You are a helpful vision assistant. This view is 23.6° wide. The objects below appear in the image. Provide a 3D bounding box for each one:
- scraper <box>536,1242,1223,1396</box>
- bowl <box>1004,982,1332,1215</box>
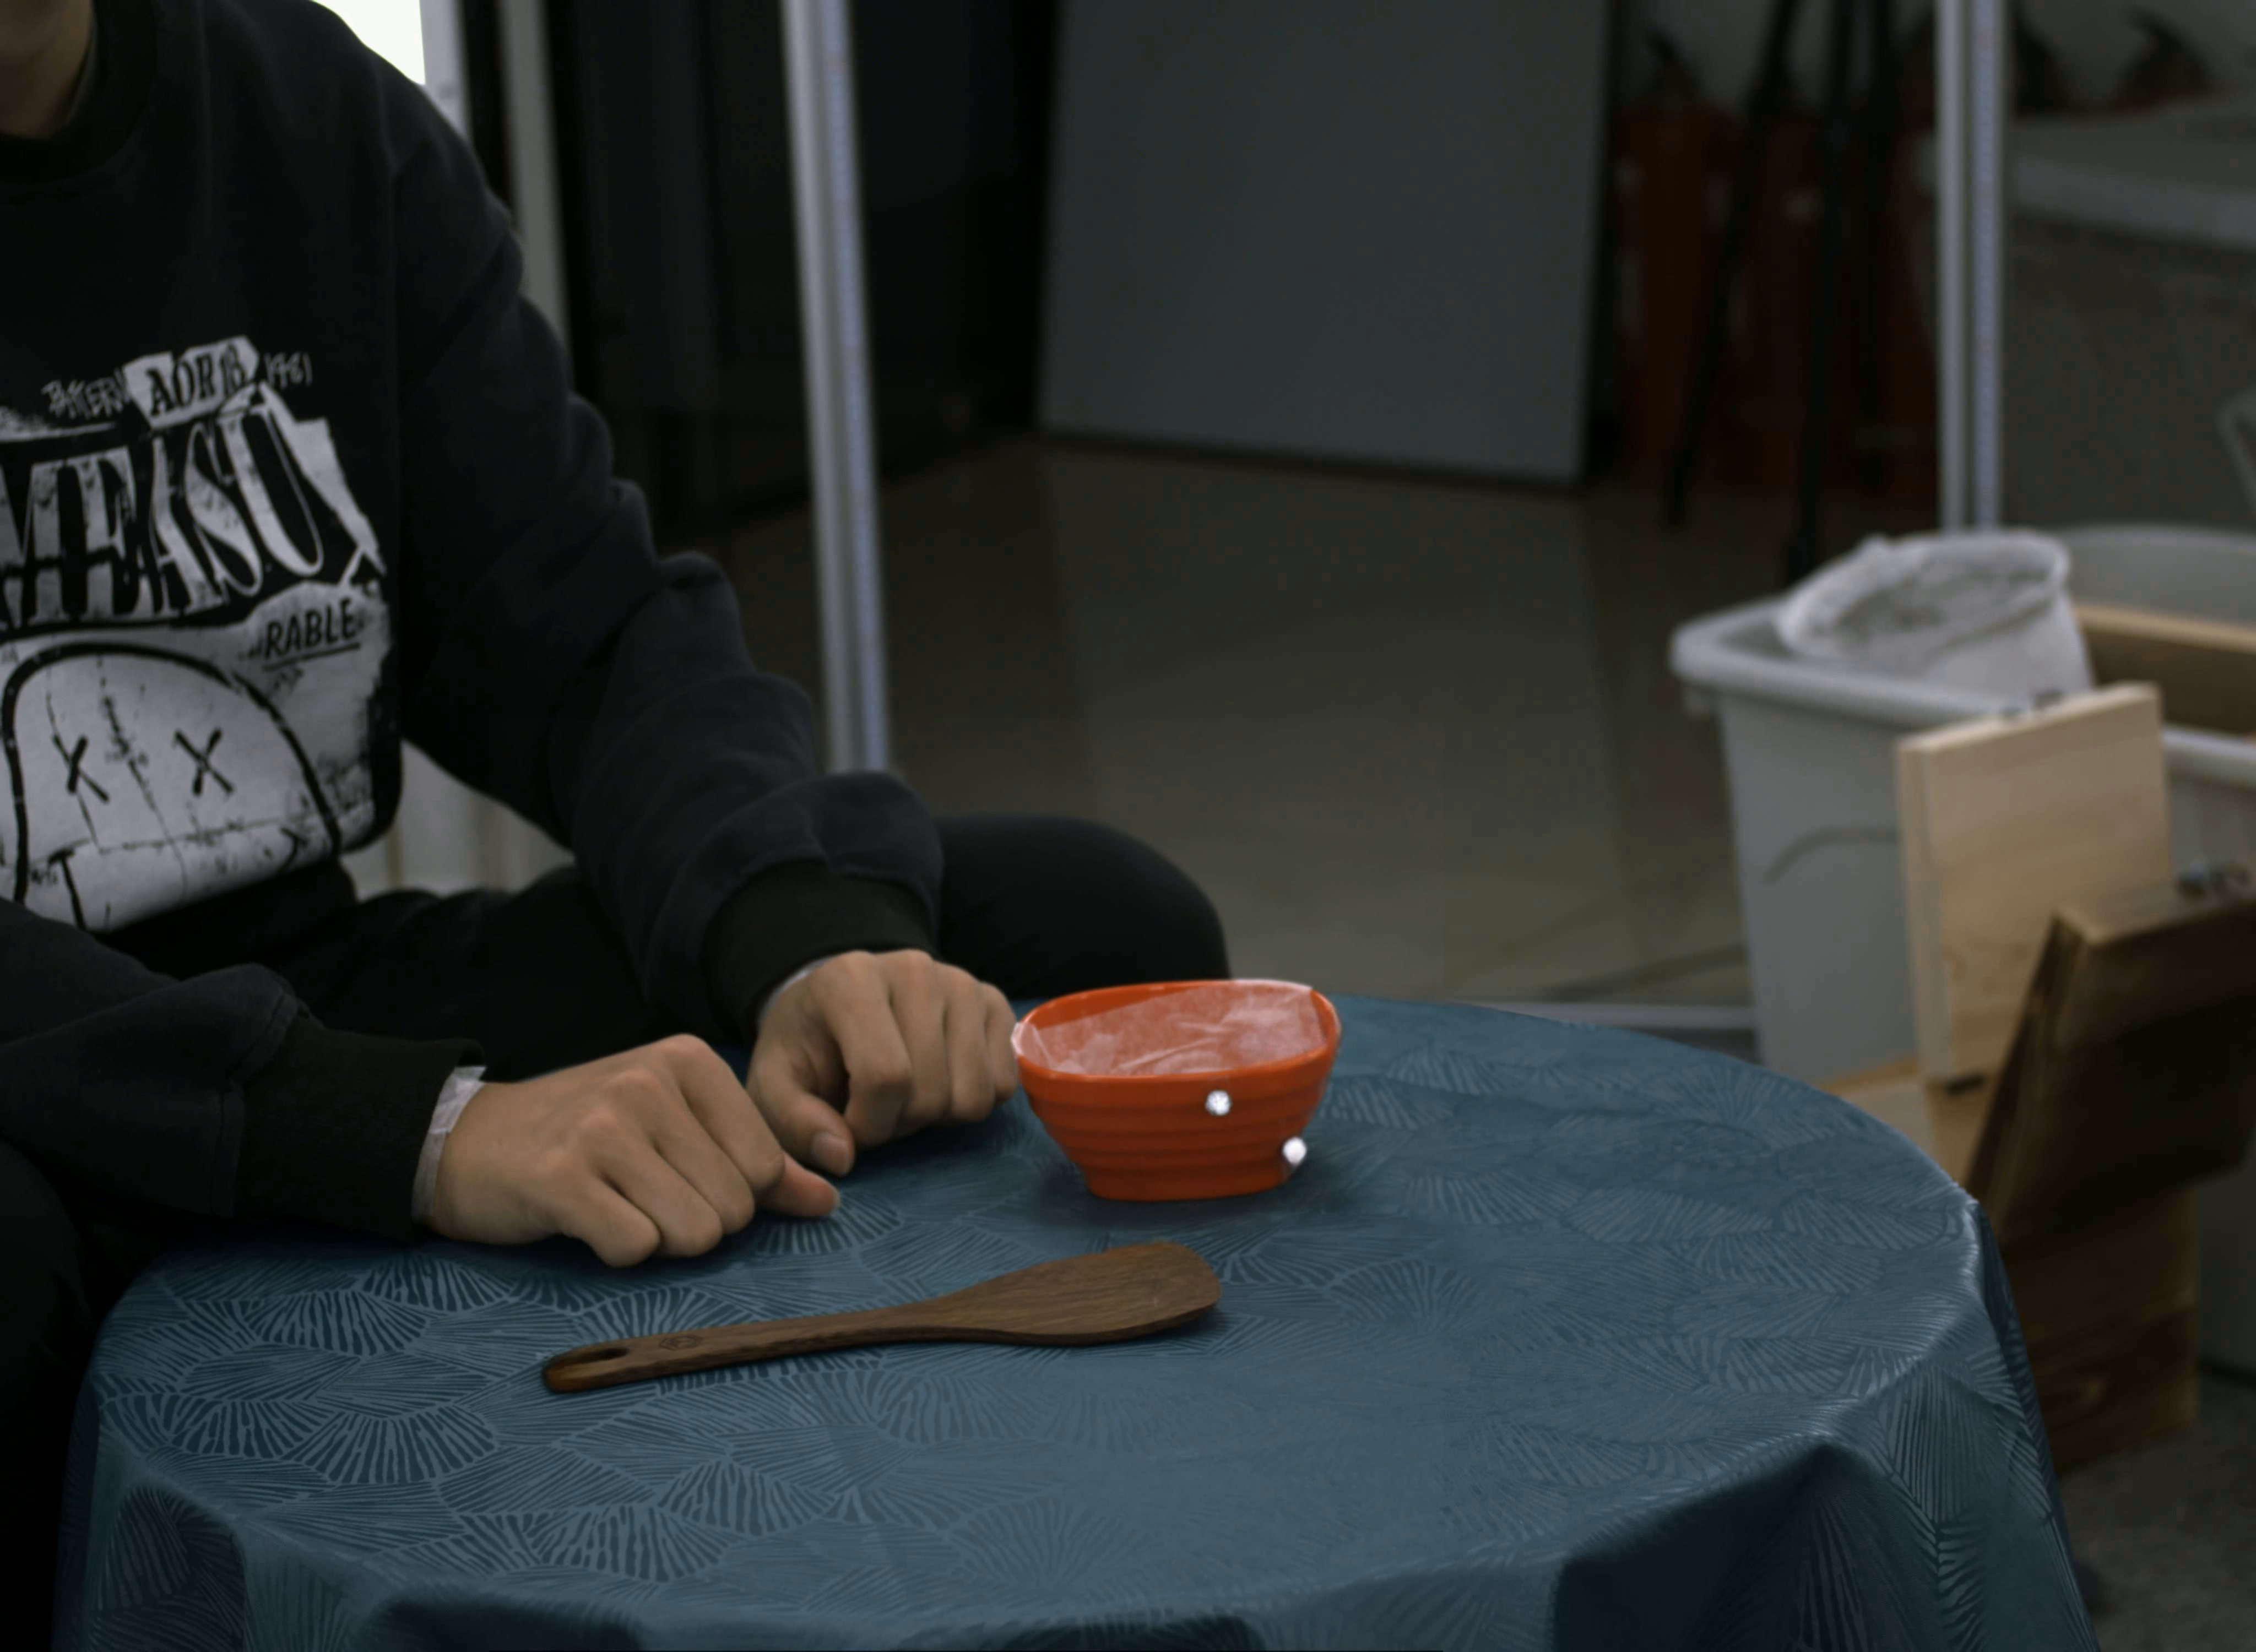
[{"bbox_3d":[-0.076,0.154,1.645,0.207,0.011,0.076,-7,13,-10],"label":"scraper"},{"bbox_3d":[0.014,0.093,1.785,0.117,0.052,0.119,-3,17,0],"label":"bowl"}]
